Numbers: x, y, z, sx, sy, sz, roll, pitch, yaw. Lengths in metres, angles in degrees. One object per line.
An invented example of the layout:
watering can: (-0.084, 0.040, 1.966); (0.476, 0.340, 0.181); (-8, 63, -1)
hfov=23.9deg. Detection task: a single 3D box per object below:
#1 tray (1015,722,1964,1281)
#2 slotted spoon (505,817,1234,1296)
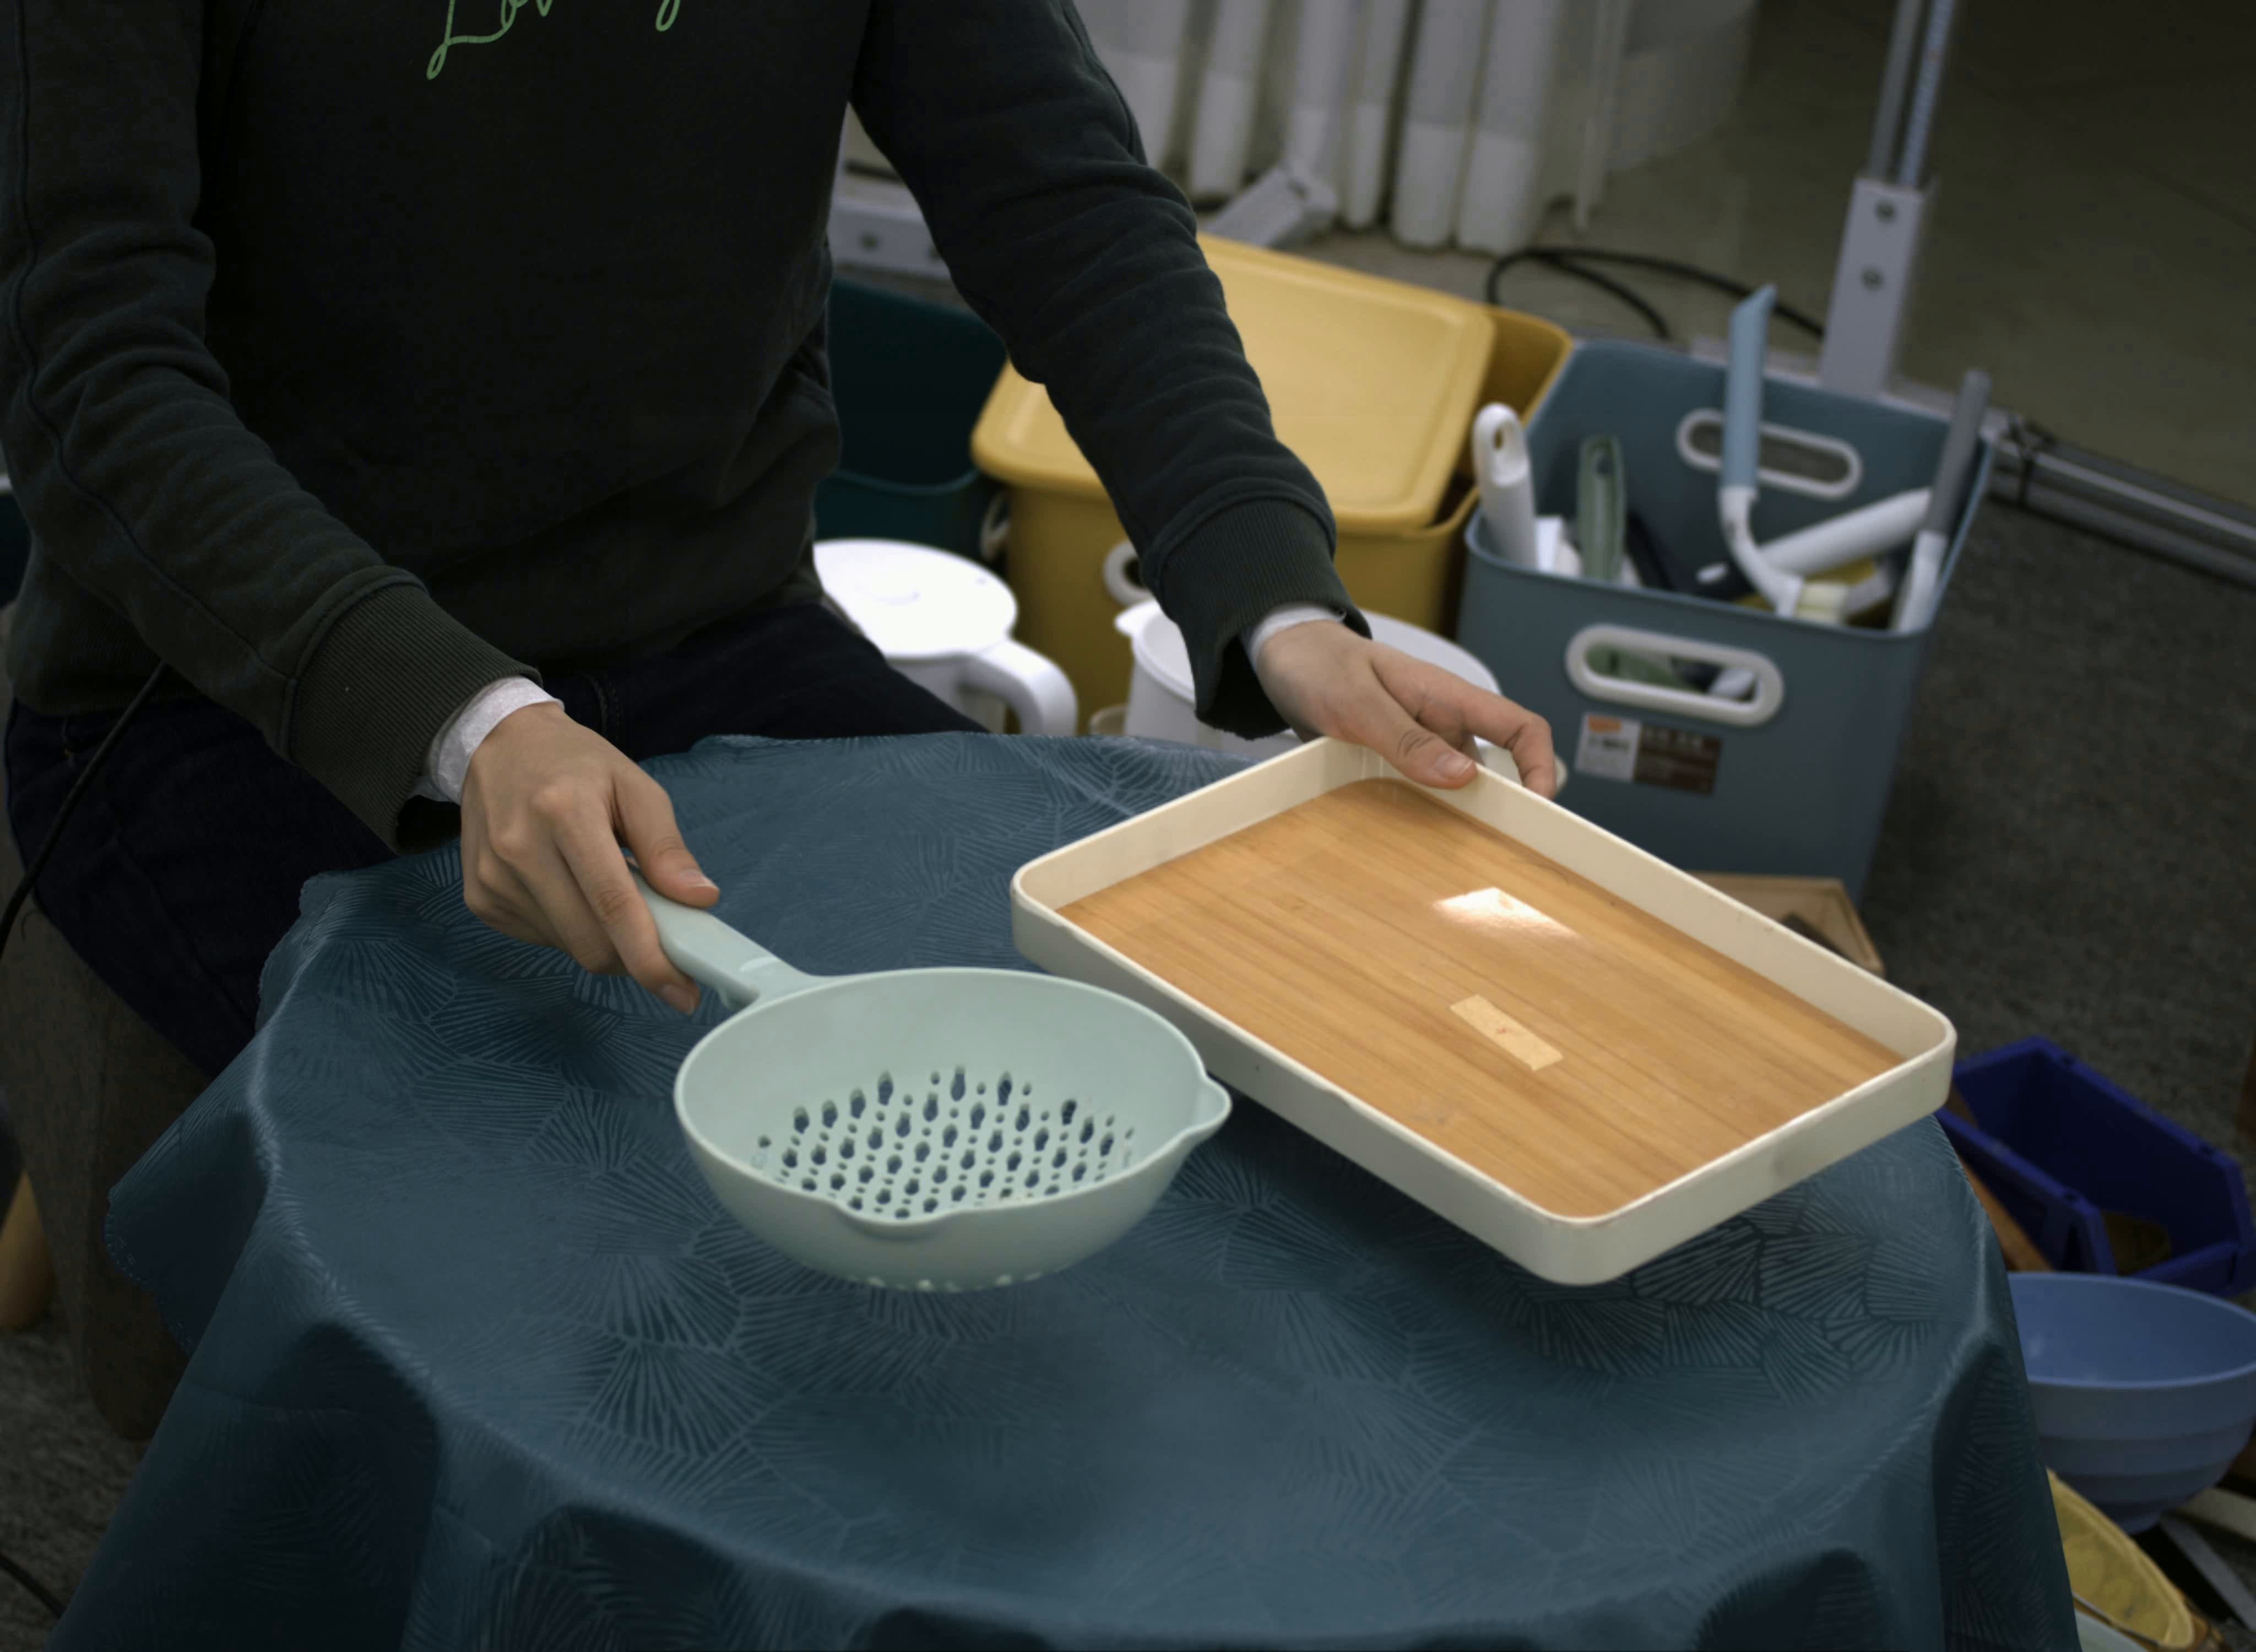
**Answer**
tray: (0.120, 0.055, 1.839); (0.191, 0.027, 0.303); (-22, 36, -33)
slotted spoon: (-0.115, 0.060, 1.758); (0.168, 0.075, 0.362); (-15, 36, -32)
